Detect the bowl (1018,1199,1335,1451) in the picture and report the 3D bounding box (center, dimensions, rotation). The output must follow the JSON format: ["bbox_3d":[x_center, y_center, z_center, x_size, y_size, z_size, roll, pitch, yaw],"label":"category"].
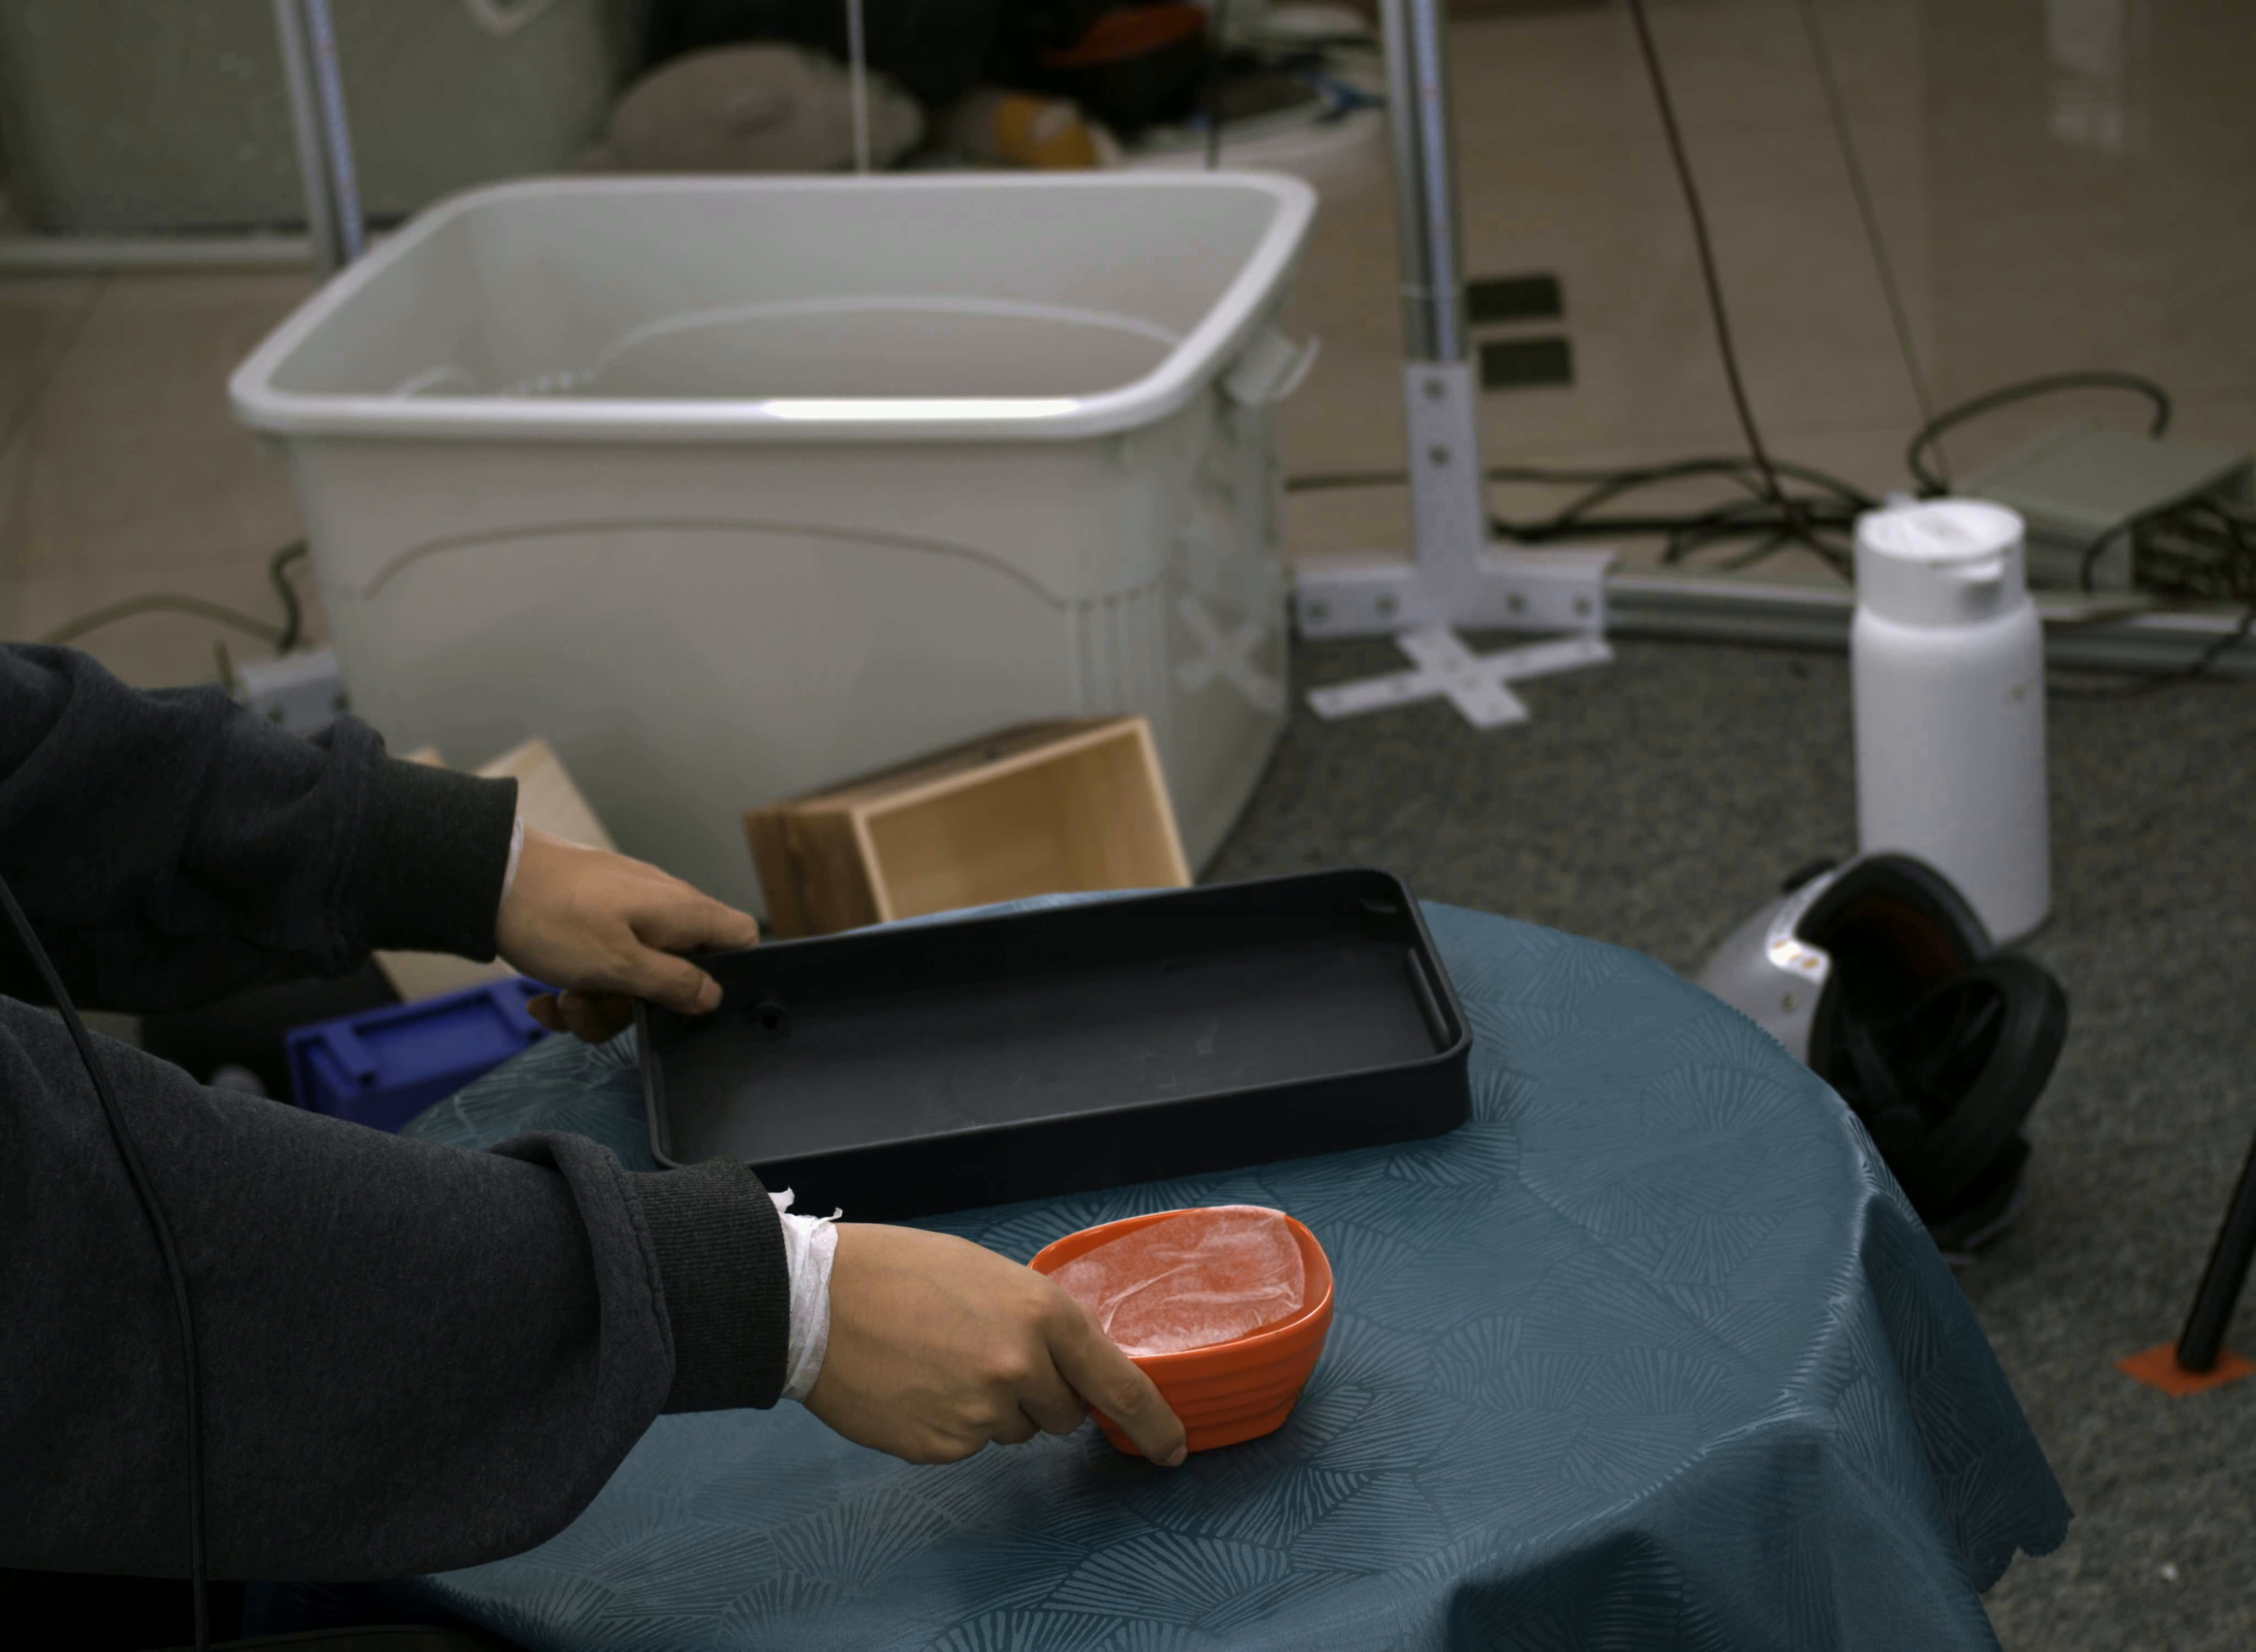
[{"bbox_3d":[0.018,0.179,1.988,0.119,0.052,0.117,-4,24,2],"label":"bowl"}]

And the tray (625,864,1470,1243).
[{"bbox_3d":[-0.034,0.087,2.221,0.317,0.037,0.181,-8,26,-5],"label":"tray"}]
